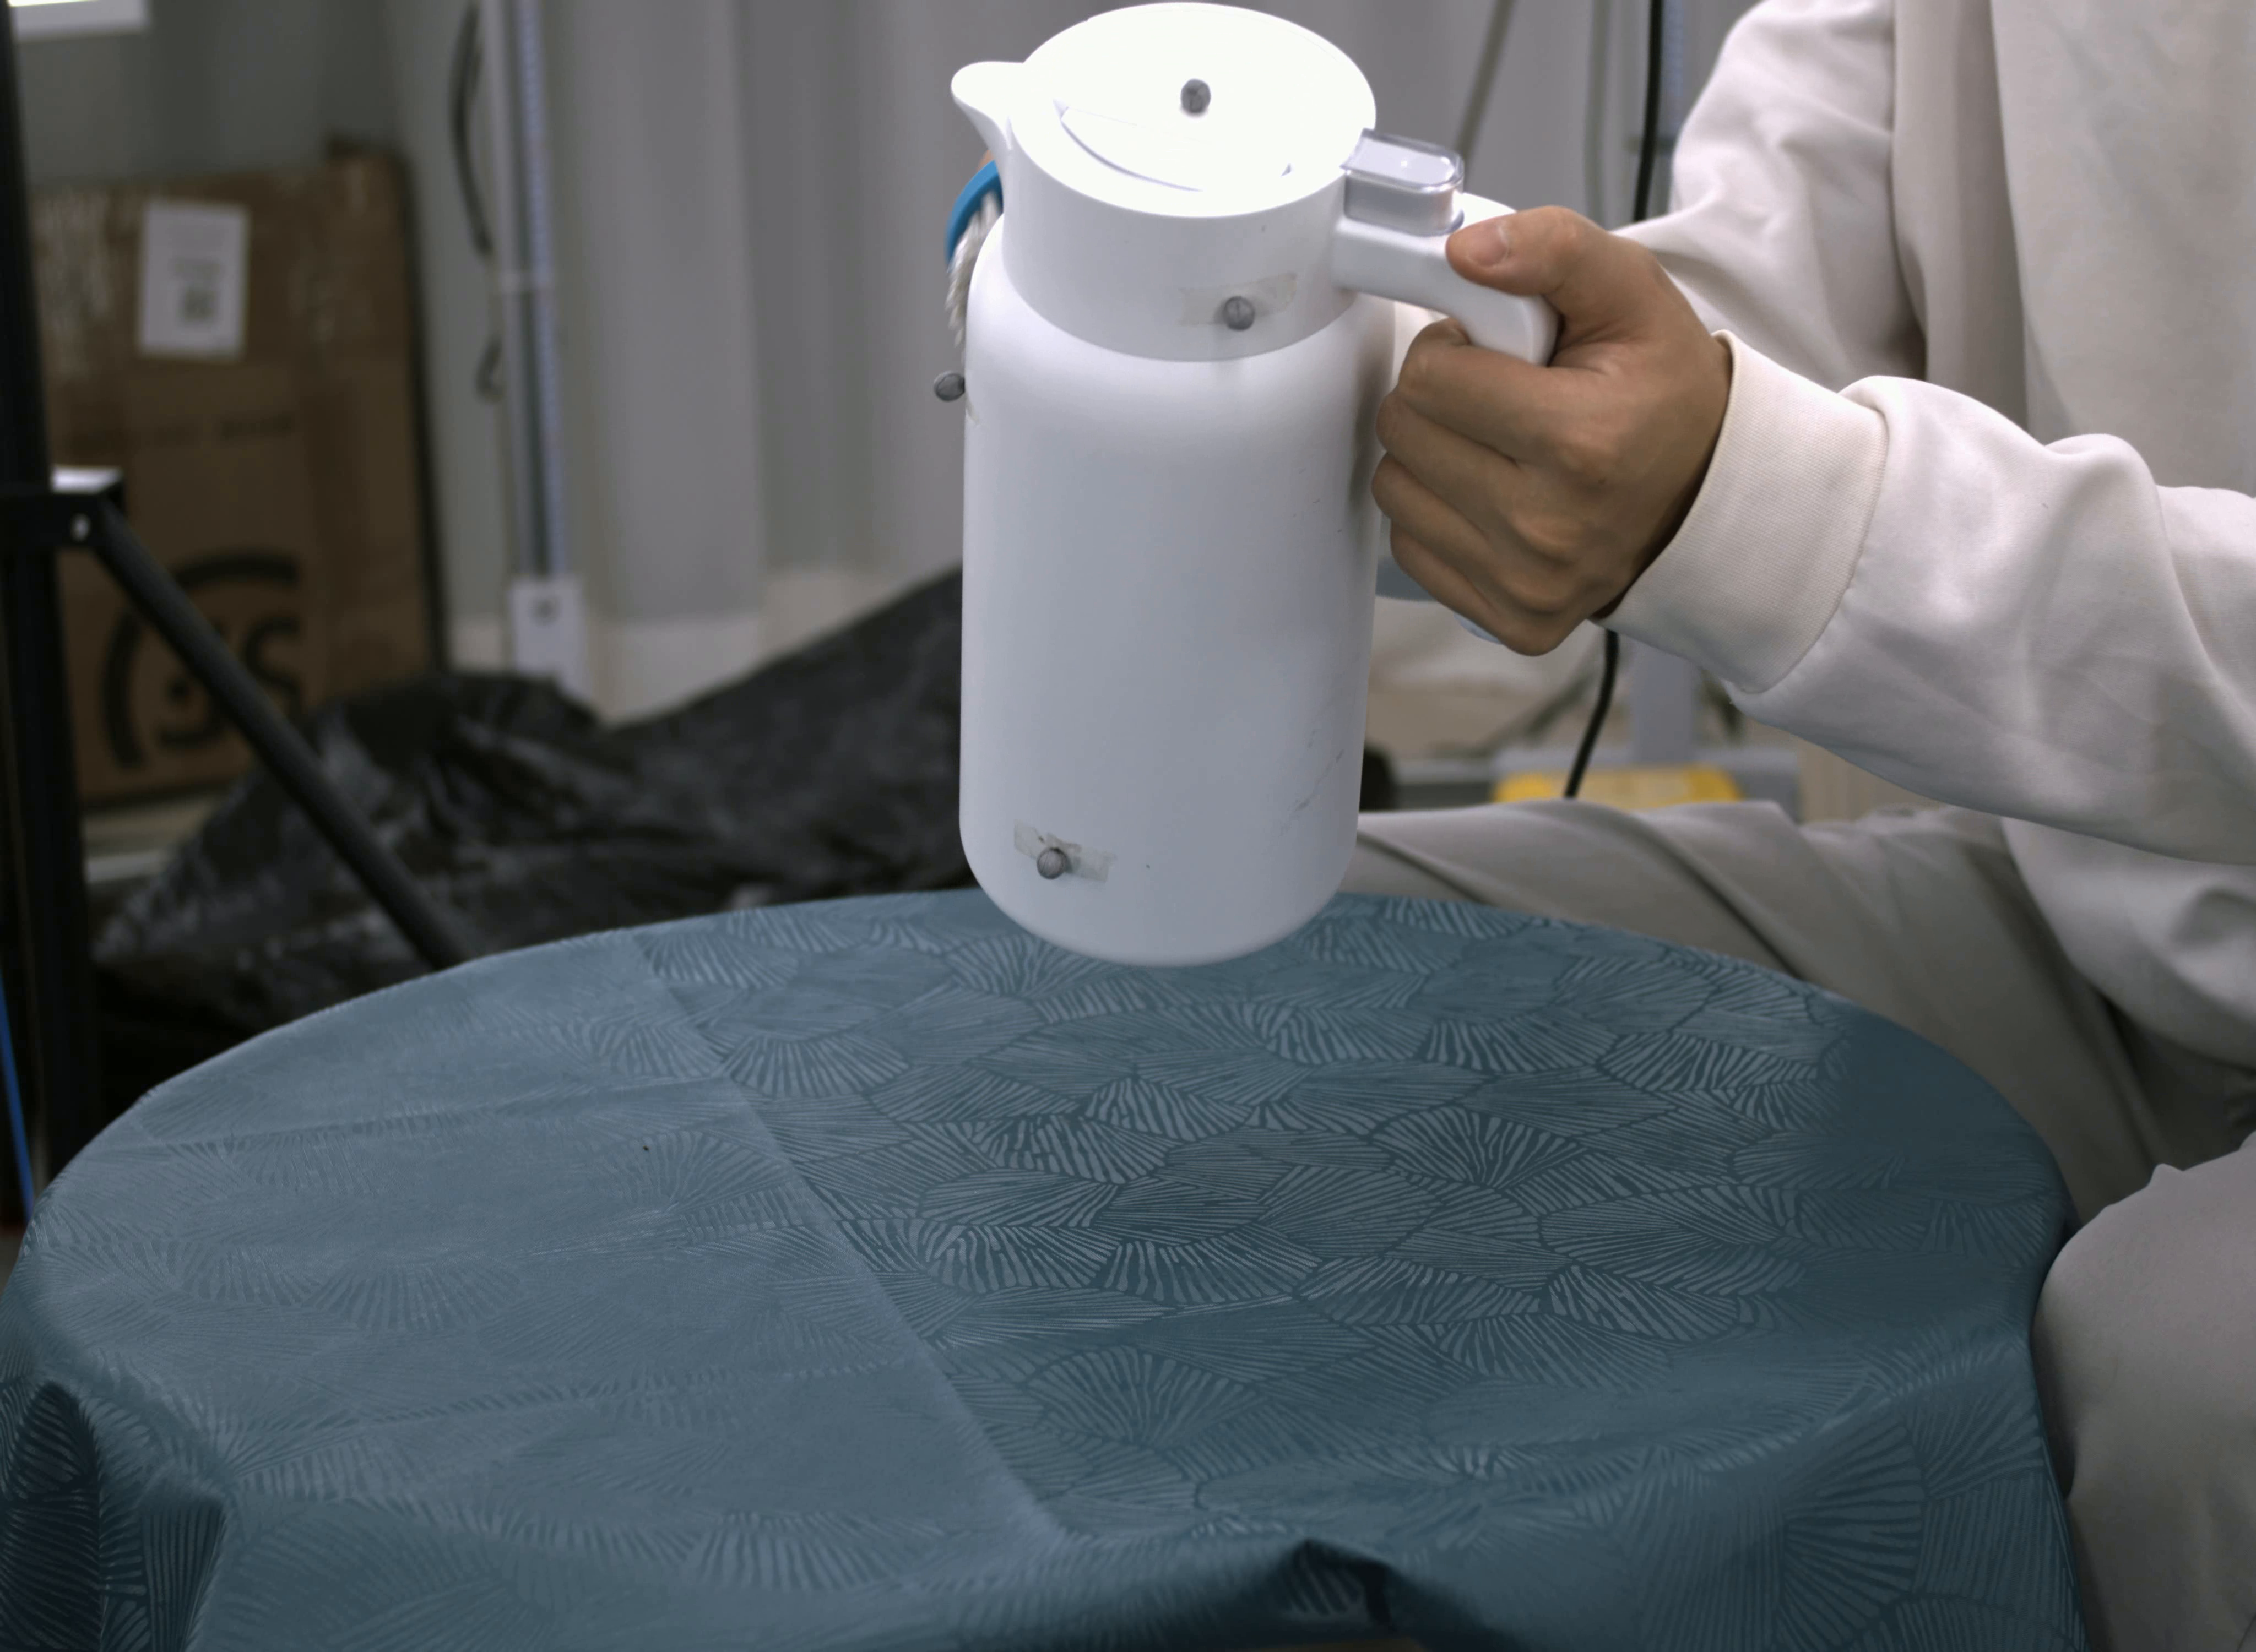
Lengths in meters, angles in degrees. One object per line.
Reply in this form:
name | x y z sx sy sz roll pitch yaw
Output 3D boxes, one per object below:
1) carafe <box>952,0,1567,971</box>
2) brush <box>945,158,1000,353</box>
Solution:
carafe | 0.030 -0.088 1.478 0.174 0.268 0.123 16 41 15
brush | -0.006 -0.149 1.552 0.084 0.140 0.065 -18 40 2
